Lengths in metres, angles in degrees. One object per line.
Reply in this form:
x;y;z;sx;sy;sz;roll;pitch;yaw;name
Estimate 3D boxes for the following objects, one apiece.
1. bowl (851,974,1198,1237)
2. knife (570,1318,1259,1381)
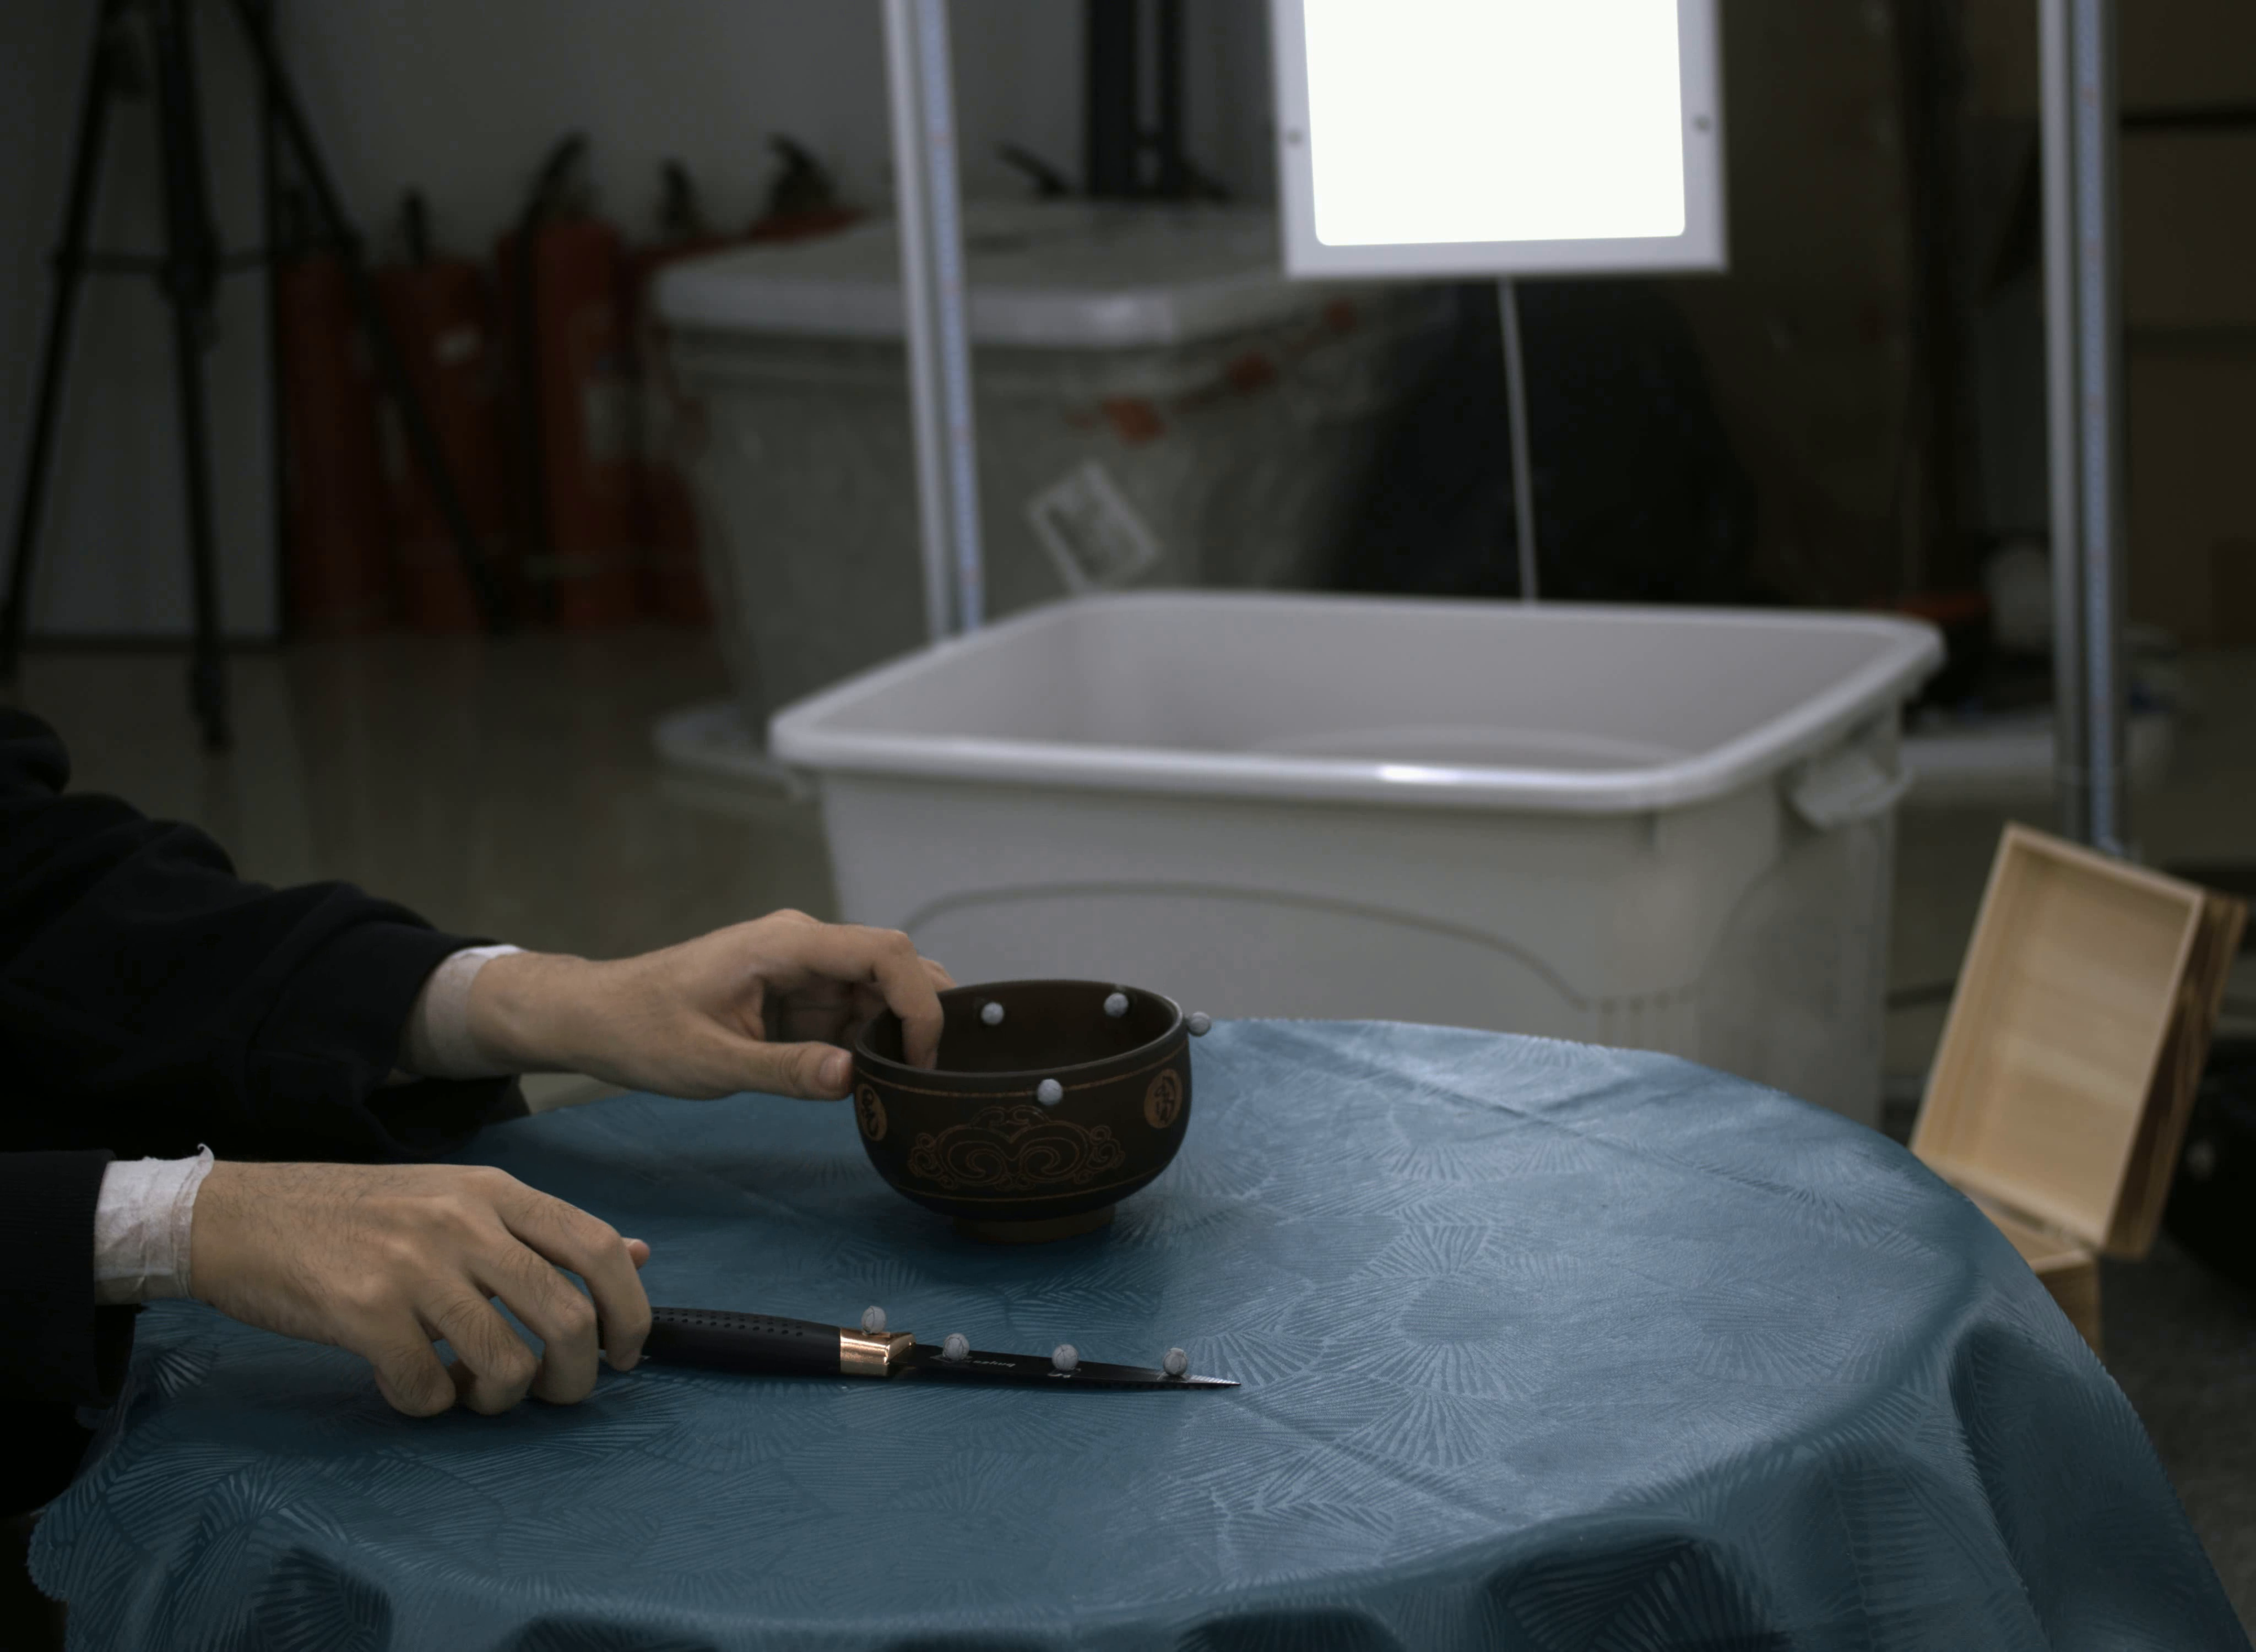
-0.033;0.098;1.867;0.118;0.070;0.118;-7;12;0;bowl
-0.069;0.167;1.737;0.228;0.017;0.026;1;7;19;knife
